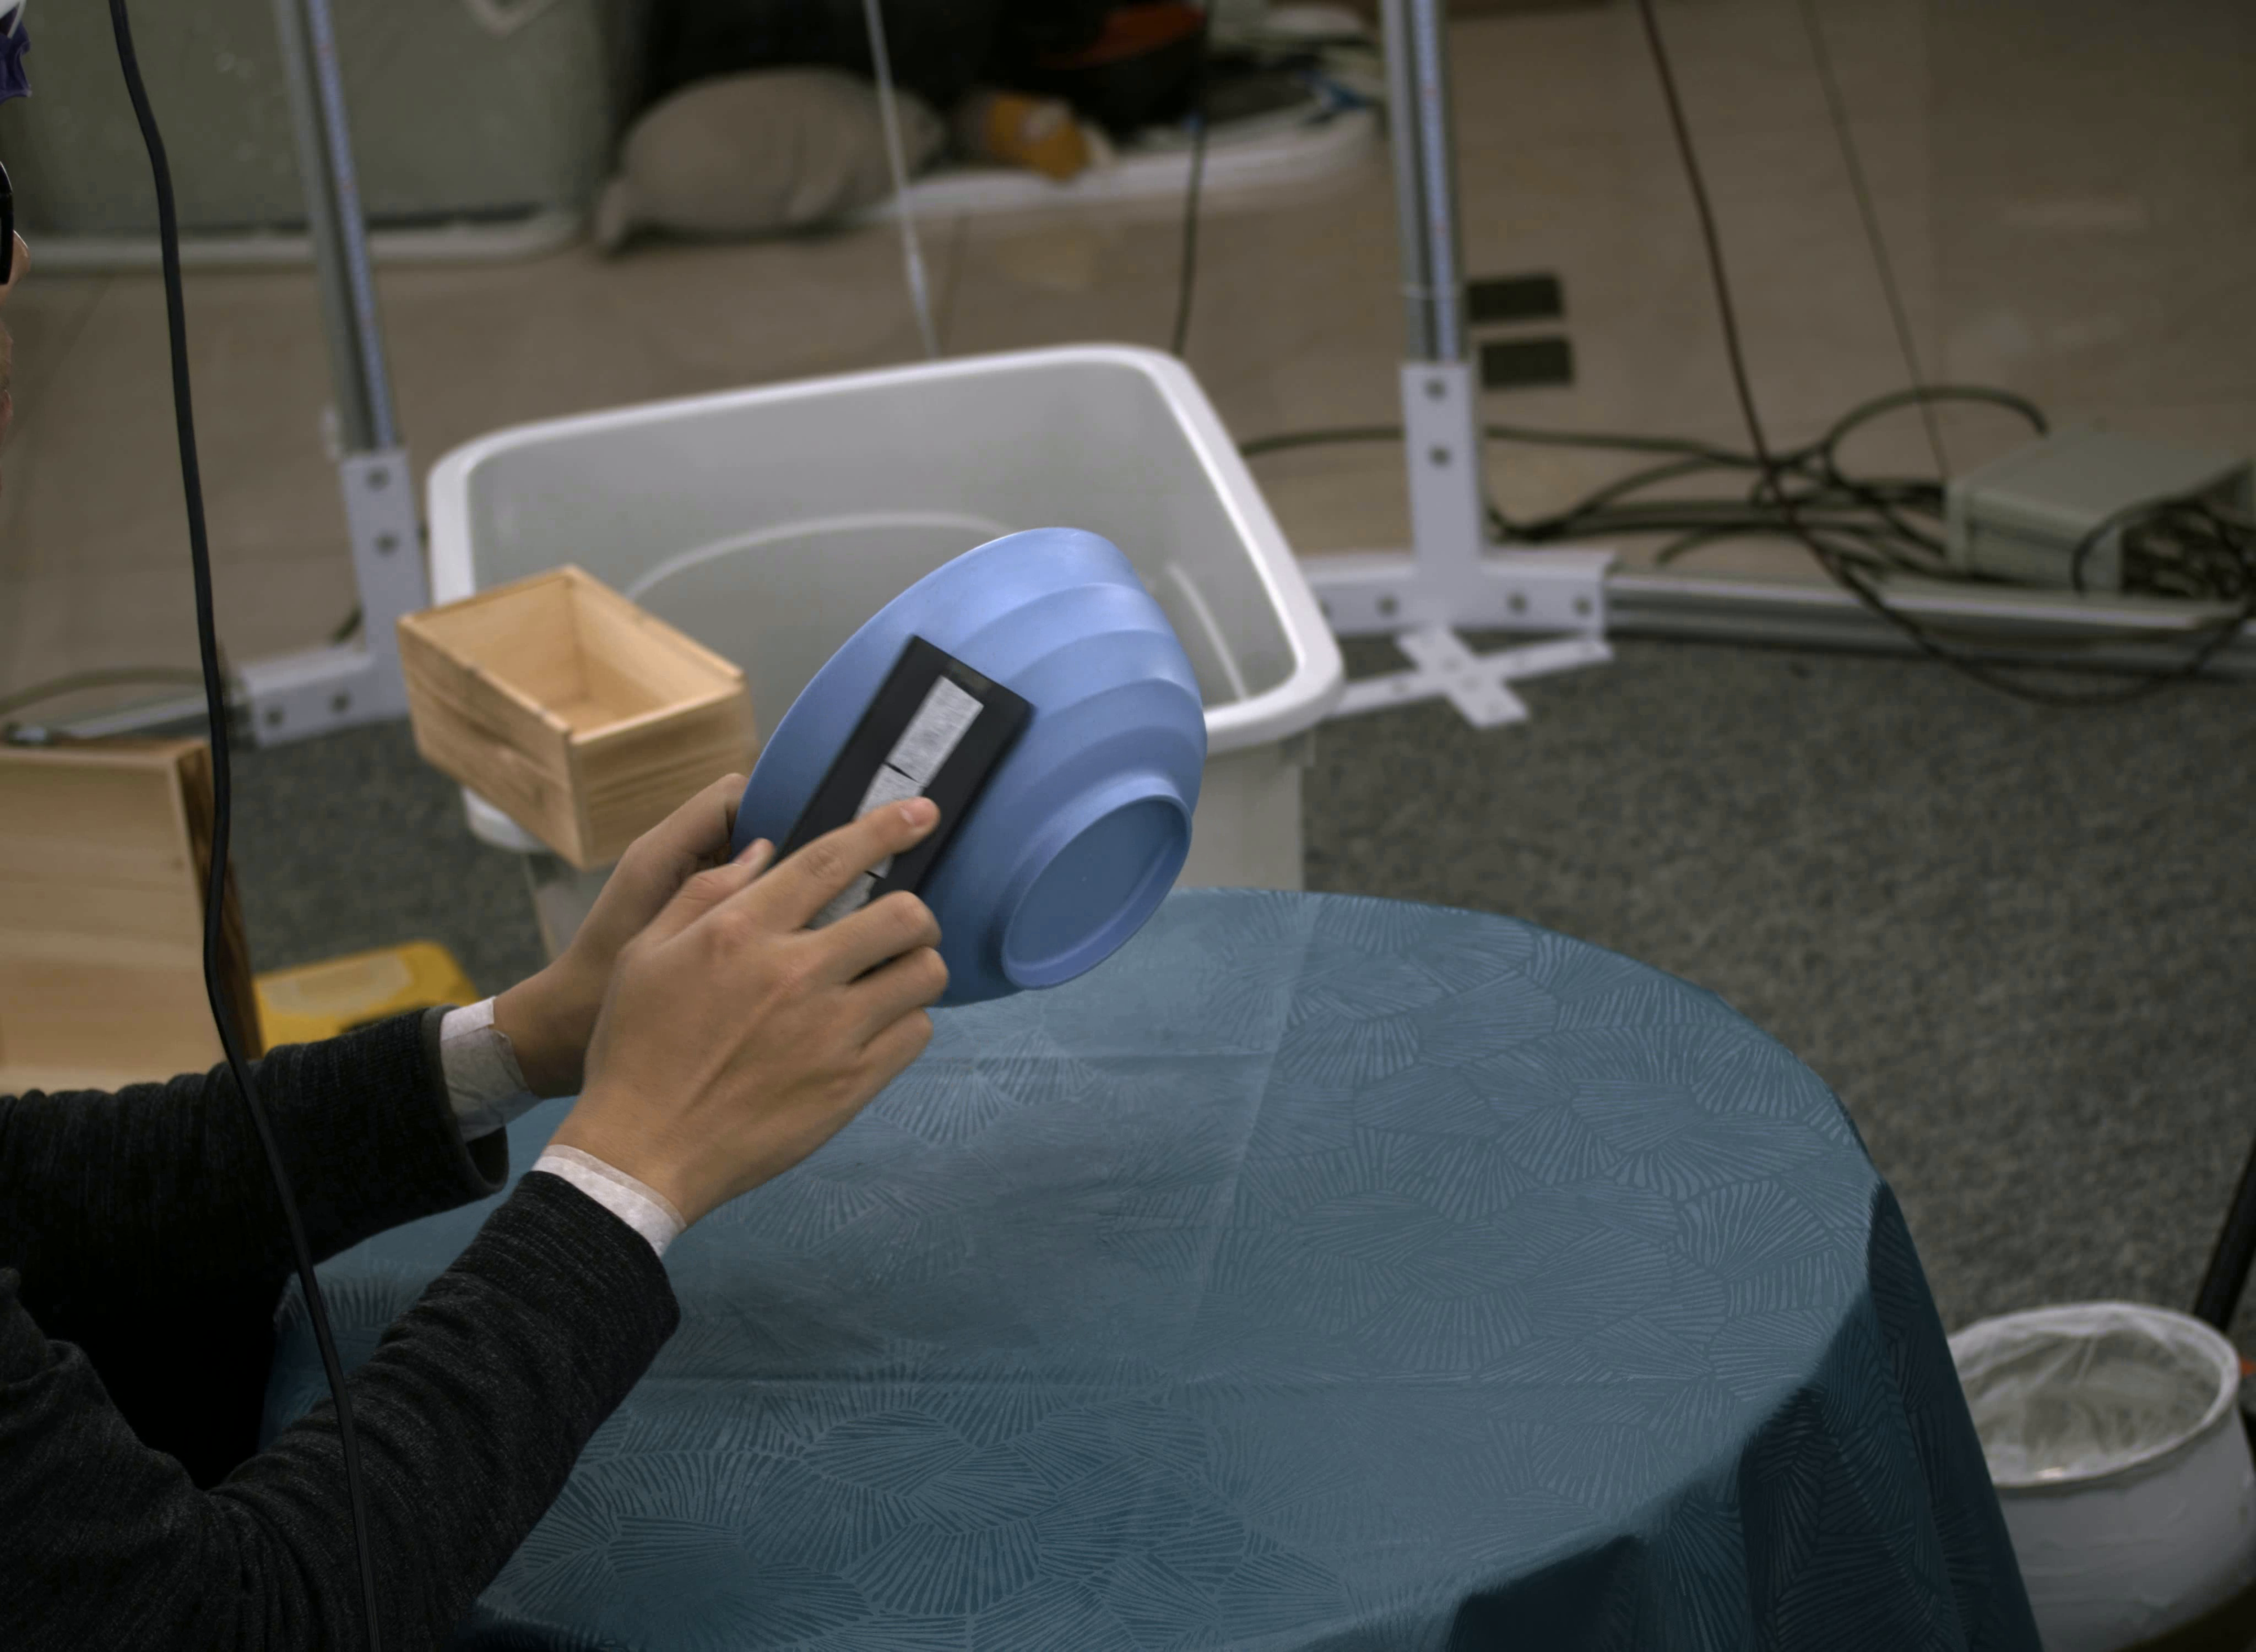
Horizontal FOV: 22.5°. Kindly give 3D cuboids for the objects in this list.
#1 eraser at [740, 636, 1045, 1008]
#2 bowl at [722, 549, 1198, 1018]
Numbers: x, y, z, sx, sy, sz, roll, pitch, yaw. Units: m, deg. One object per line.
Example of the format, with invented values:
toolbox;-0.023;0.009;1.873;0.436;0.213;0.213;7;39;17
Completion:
eraser;-0.082;-0.002;1.980;0.053;0.125;0.030;30;-11;3
bowl;-0.044;0.002;2.086;0.195;0.200;0.094;-27;63;-37
